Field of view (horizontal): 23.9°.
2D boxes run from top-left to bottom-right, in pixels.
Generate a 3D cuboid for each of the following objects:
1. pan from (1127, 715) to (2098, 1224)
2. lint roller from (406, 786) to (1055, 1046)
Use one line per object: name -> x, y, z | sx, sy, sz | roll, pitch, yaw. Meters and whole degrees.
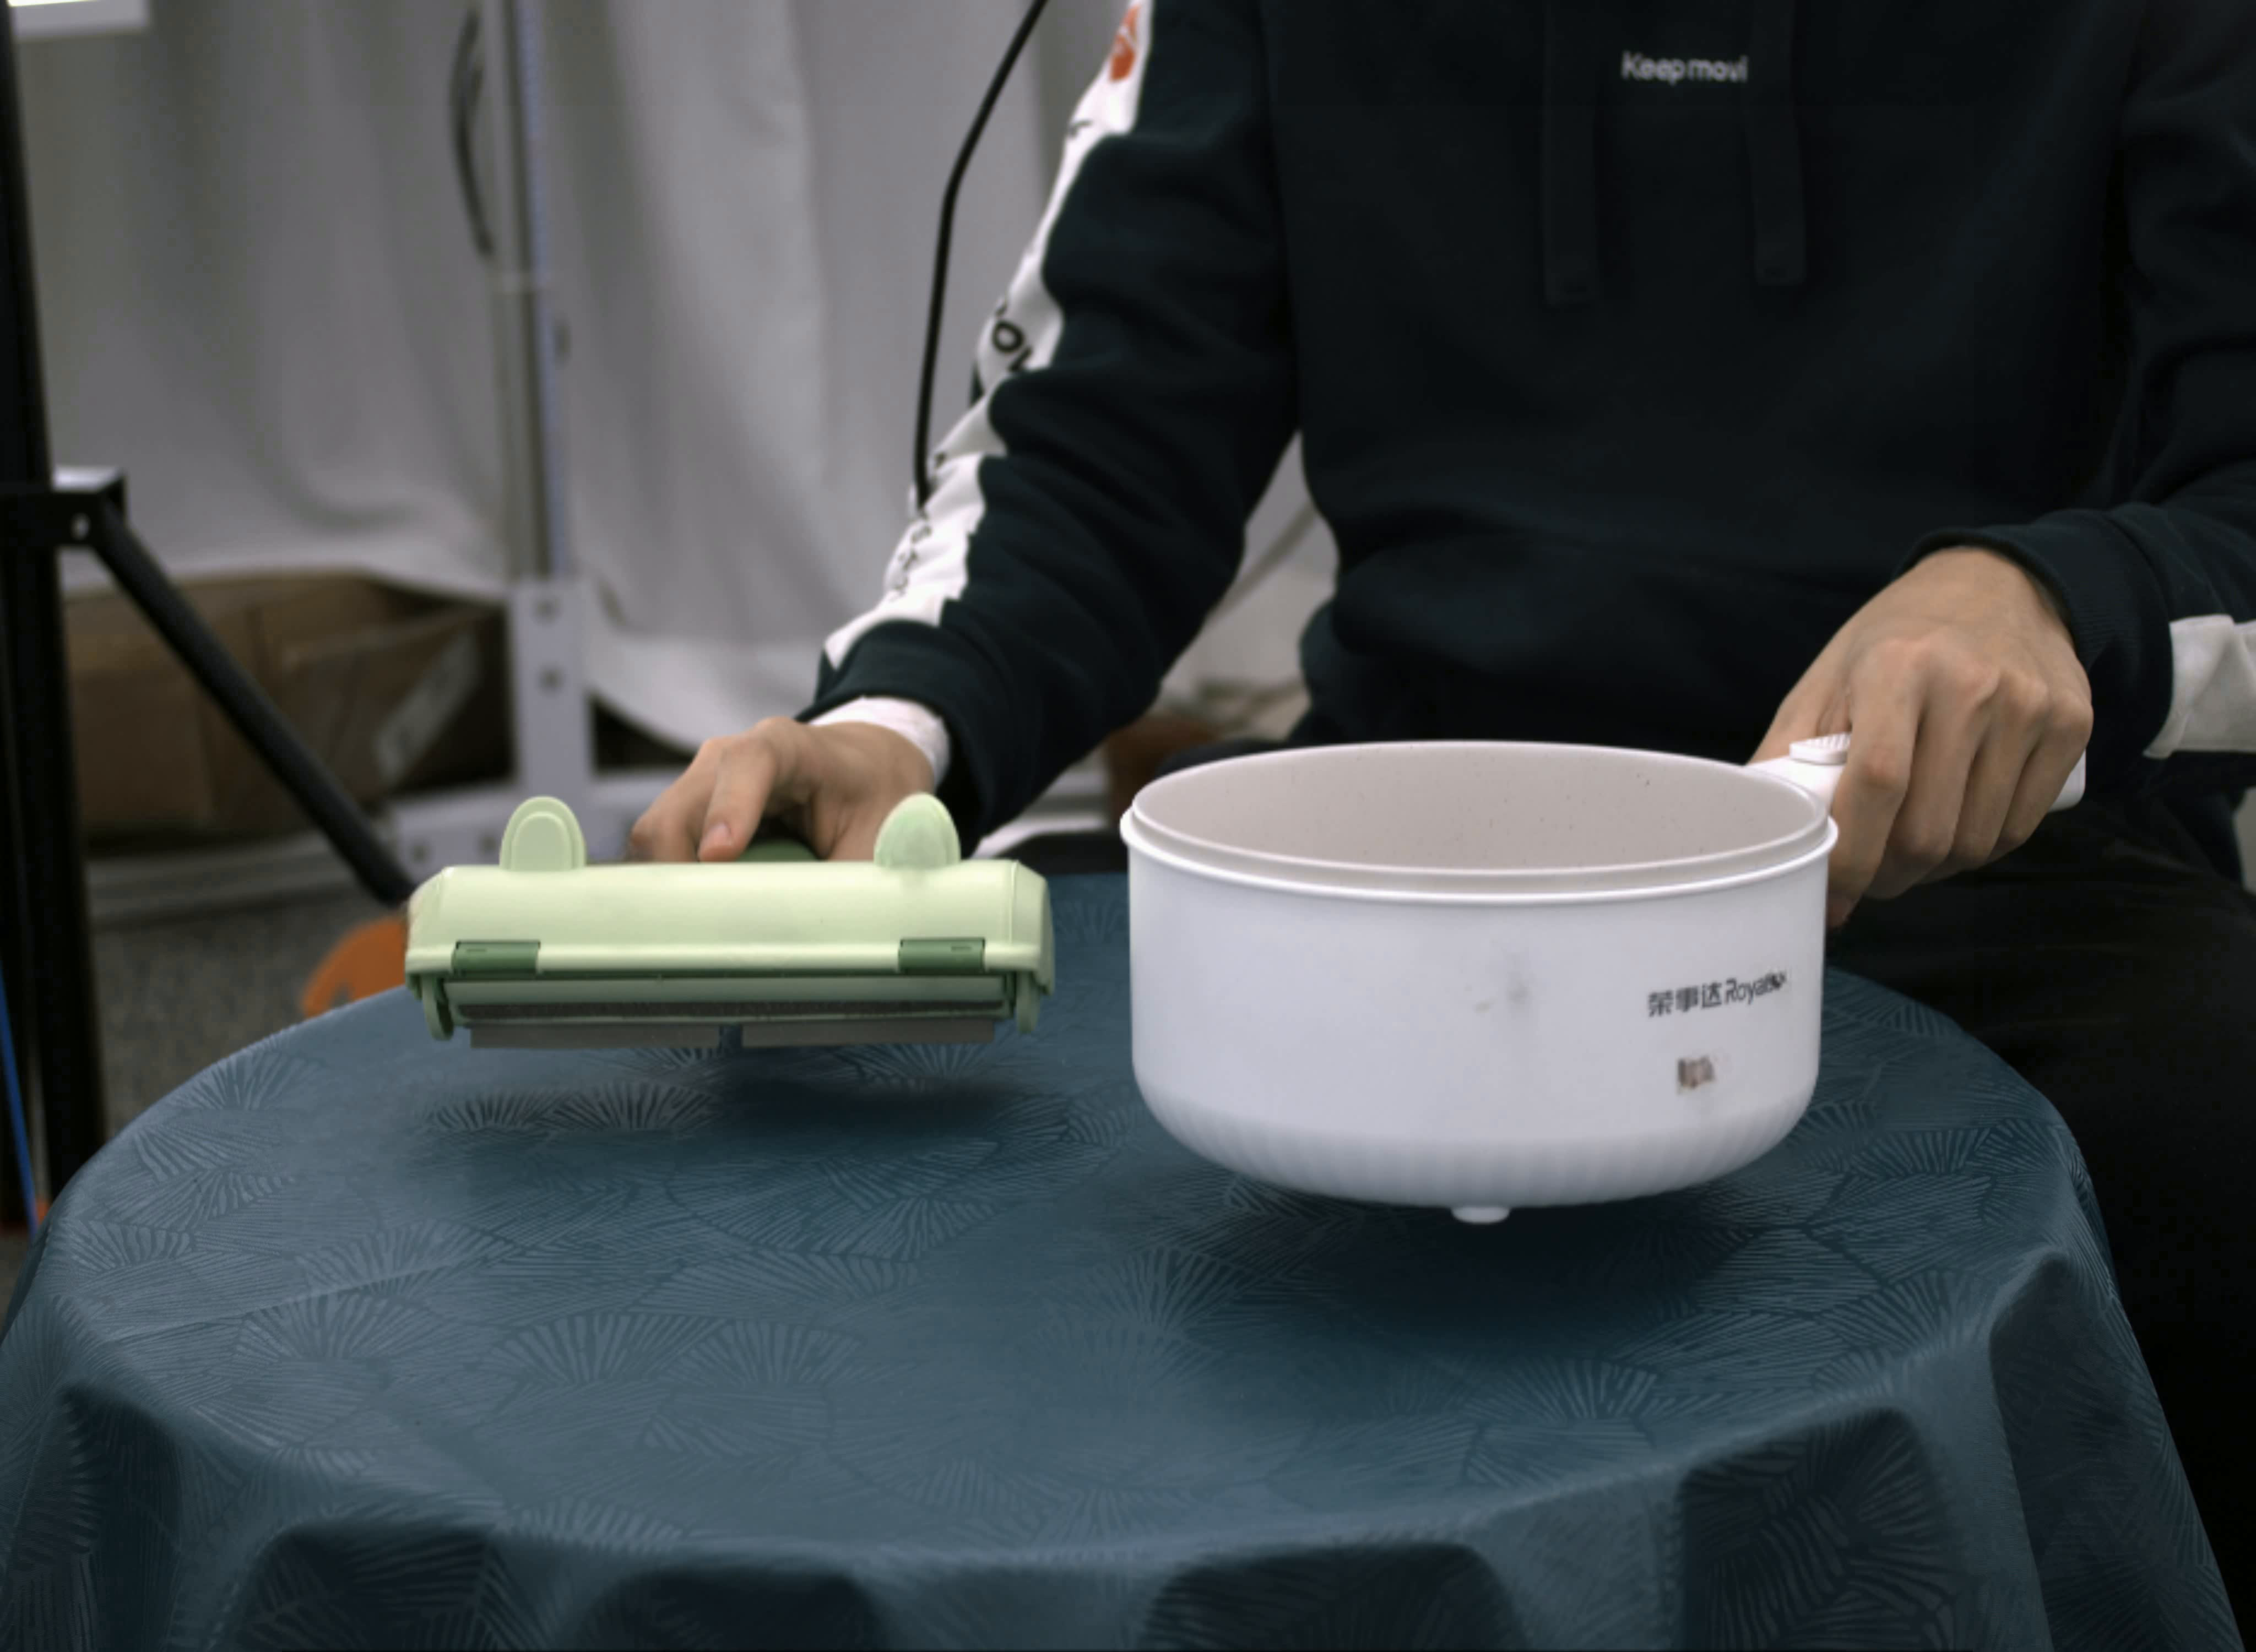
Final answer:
pan -> 0.155, 0.034, 1.537 | 0.346, 0.102, 0.206 | -9, 13, -41
lint roller -> -0.119, 0.013, 1.692 | 0.198, 0.082, 0.184 | -1, 20, 5
